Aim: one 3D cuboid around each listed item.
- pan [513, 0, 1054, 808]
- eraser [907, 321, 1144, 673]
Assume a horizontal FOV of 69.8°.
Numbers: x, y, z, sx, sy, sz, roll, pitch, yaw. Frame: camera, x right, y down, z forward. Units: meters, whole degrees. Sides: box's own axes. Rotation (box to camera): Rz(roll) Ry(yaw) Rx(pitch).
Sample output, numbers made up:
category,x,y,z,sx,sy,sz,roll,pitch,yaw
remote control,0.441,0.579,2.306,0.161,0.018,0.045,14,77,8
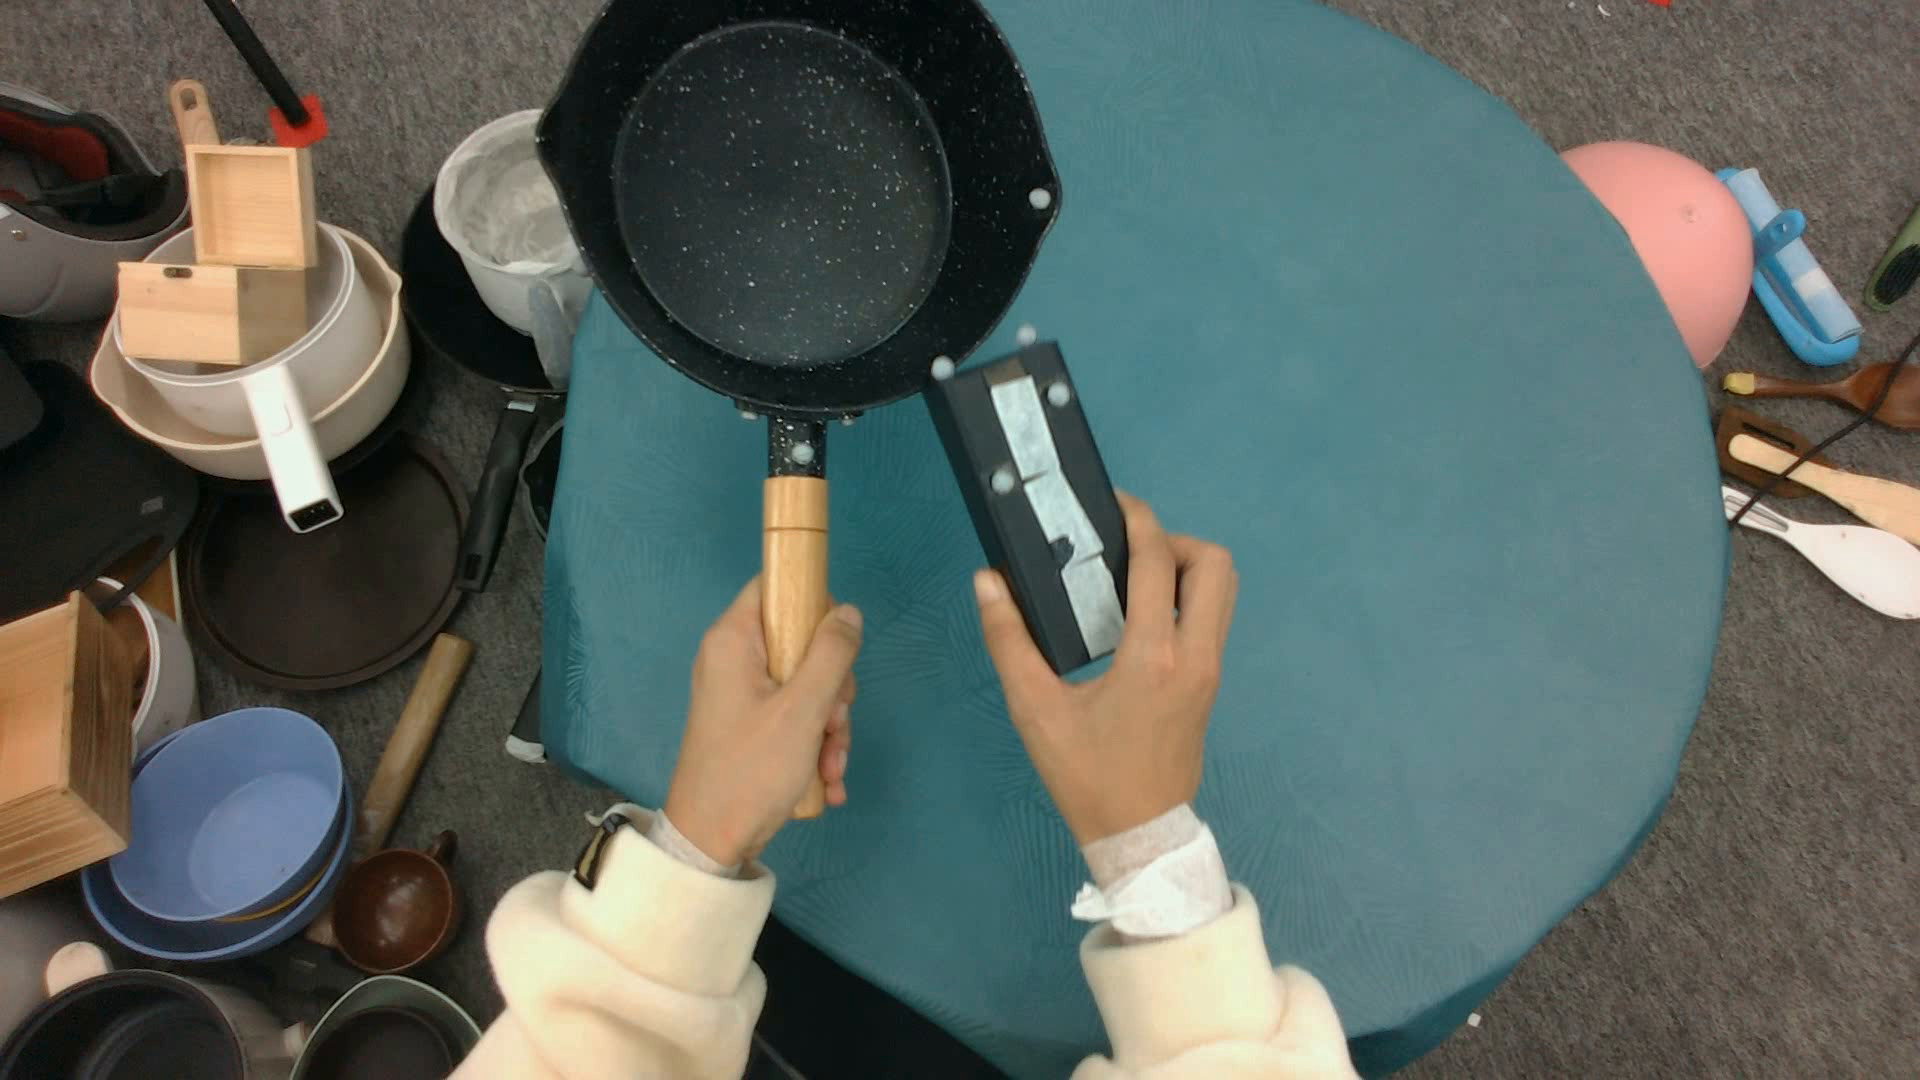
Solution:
category,x,y,z,sx,sy,sz,roll,pitch,yaw
pan,-0.072,-0.070,0.558,0.208,0.108,0.342,1,94,-16
eraser,0.025,-0.016,0.528,0.053,0.030,0.125,-22,98,-15
